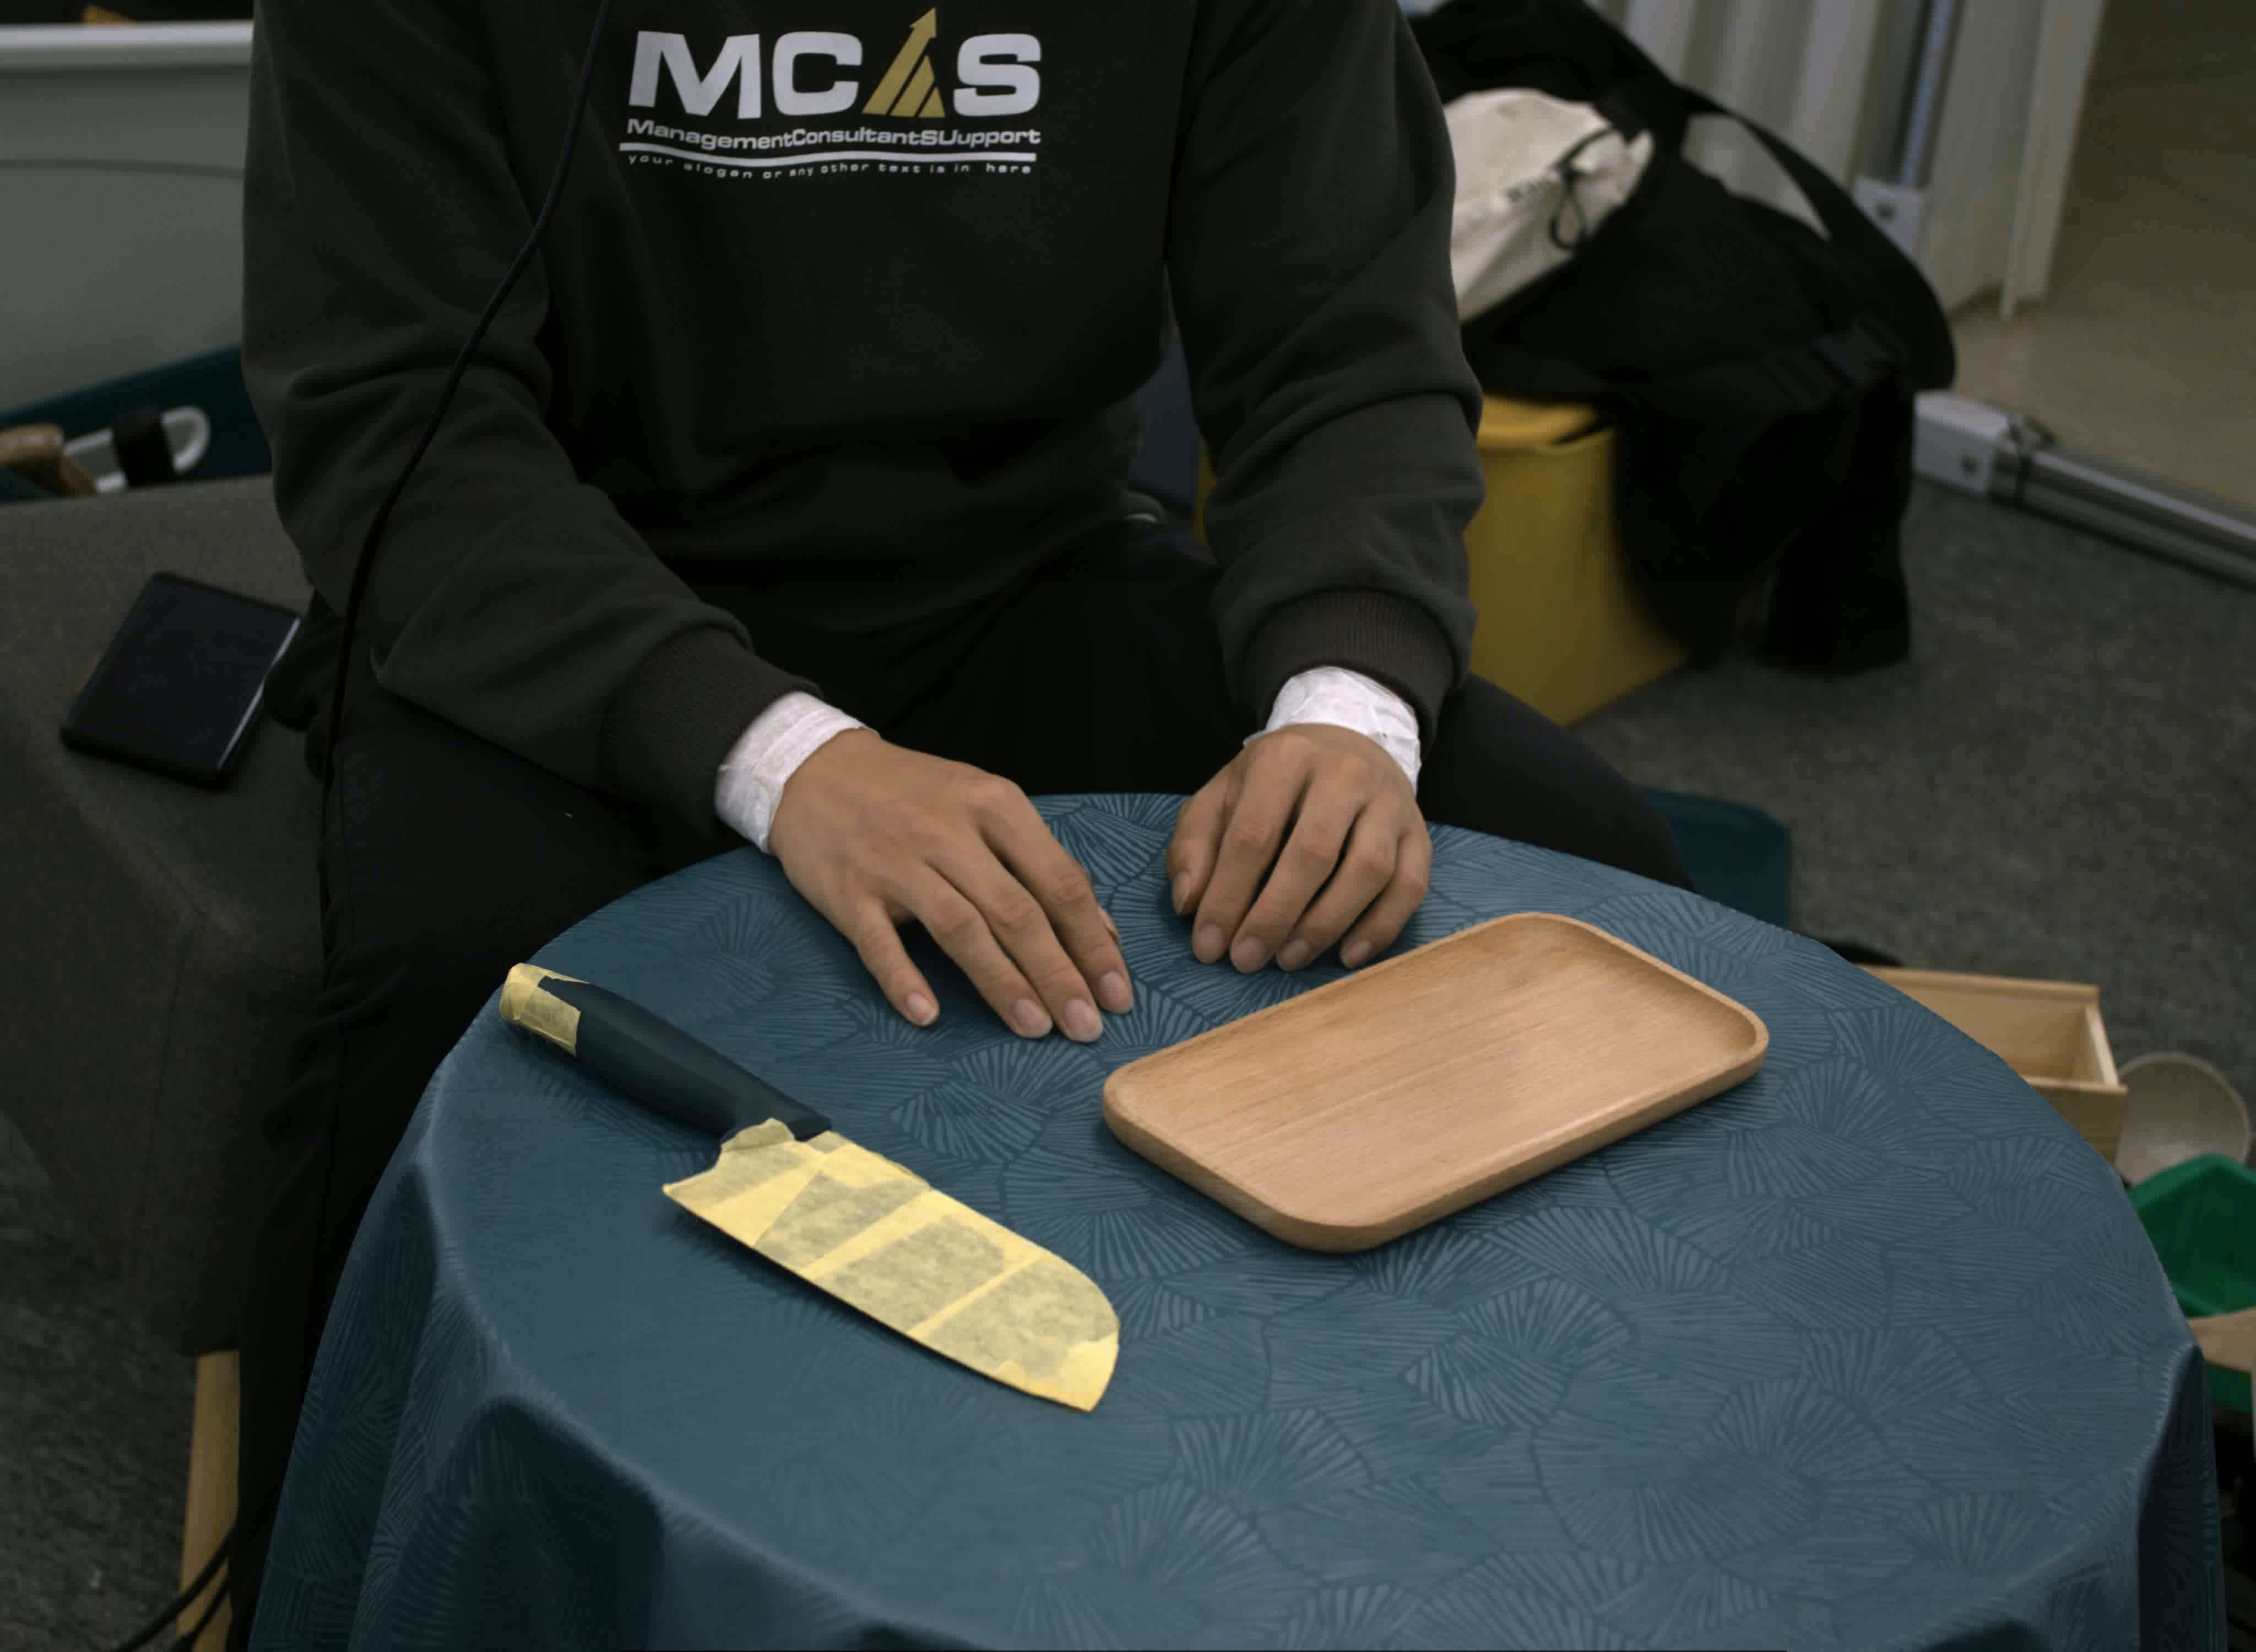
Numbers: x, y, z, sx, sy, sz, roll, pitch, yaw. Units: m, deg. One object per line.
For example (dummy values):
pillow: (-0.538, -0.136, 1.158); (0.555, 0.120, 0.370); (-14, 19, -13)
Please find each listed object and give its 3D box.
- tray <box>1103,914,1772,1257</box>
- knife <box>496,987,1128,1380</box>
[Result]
tray: (0.111, 0.090, 1.880); (0.249, 0.023, 0.131); (-20, 34, -41)
knife: (-0.113, 0.120, 1.771); (0.291, 0.027, 0.080); (27, 31, 33)
